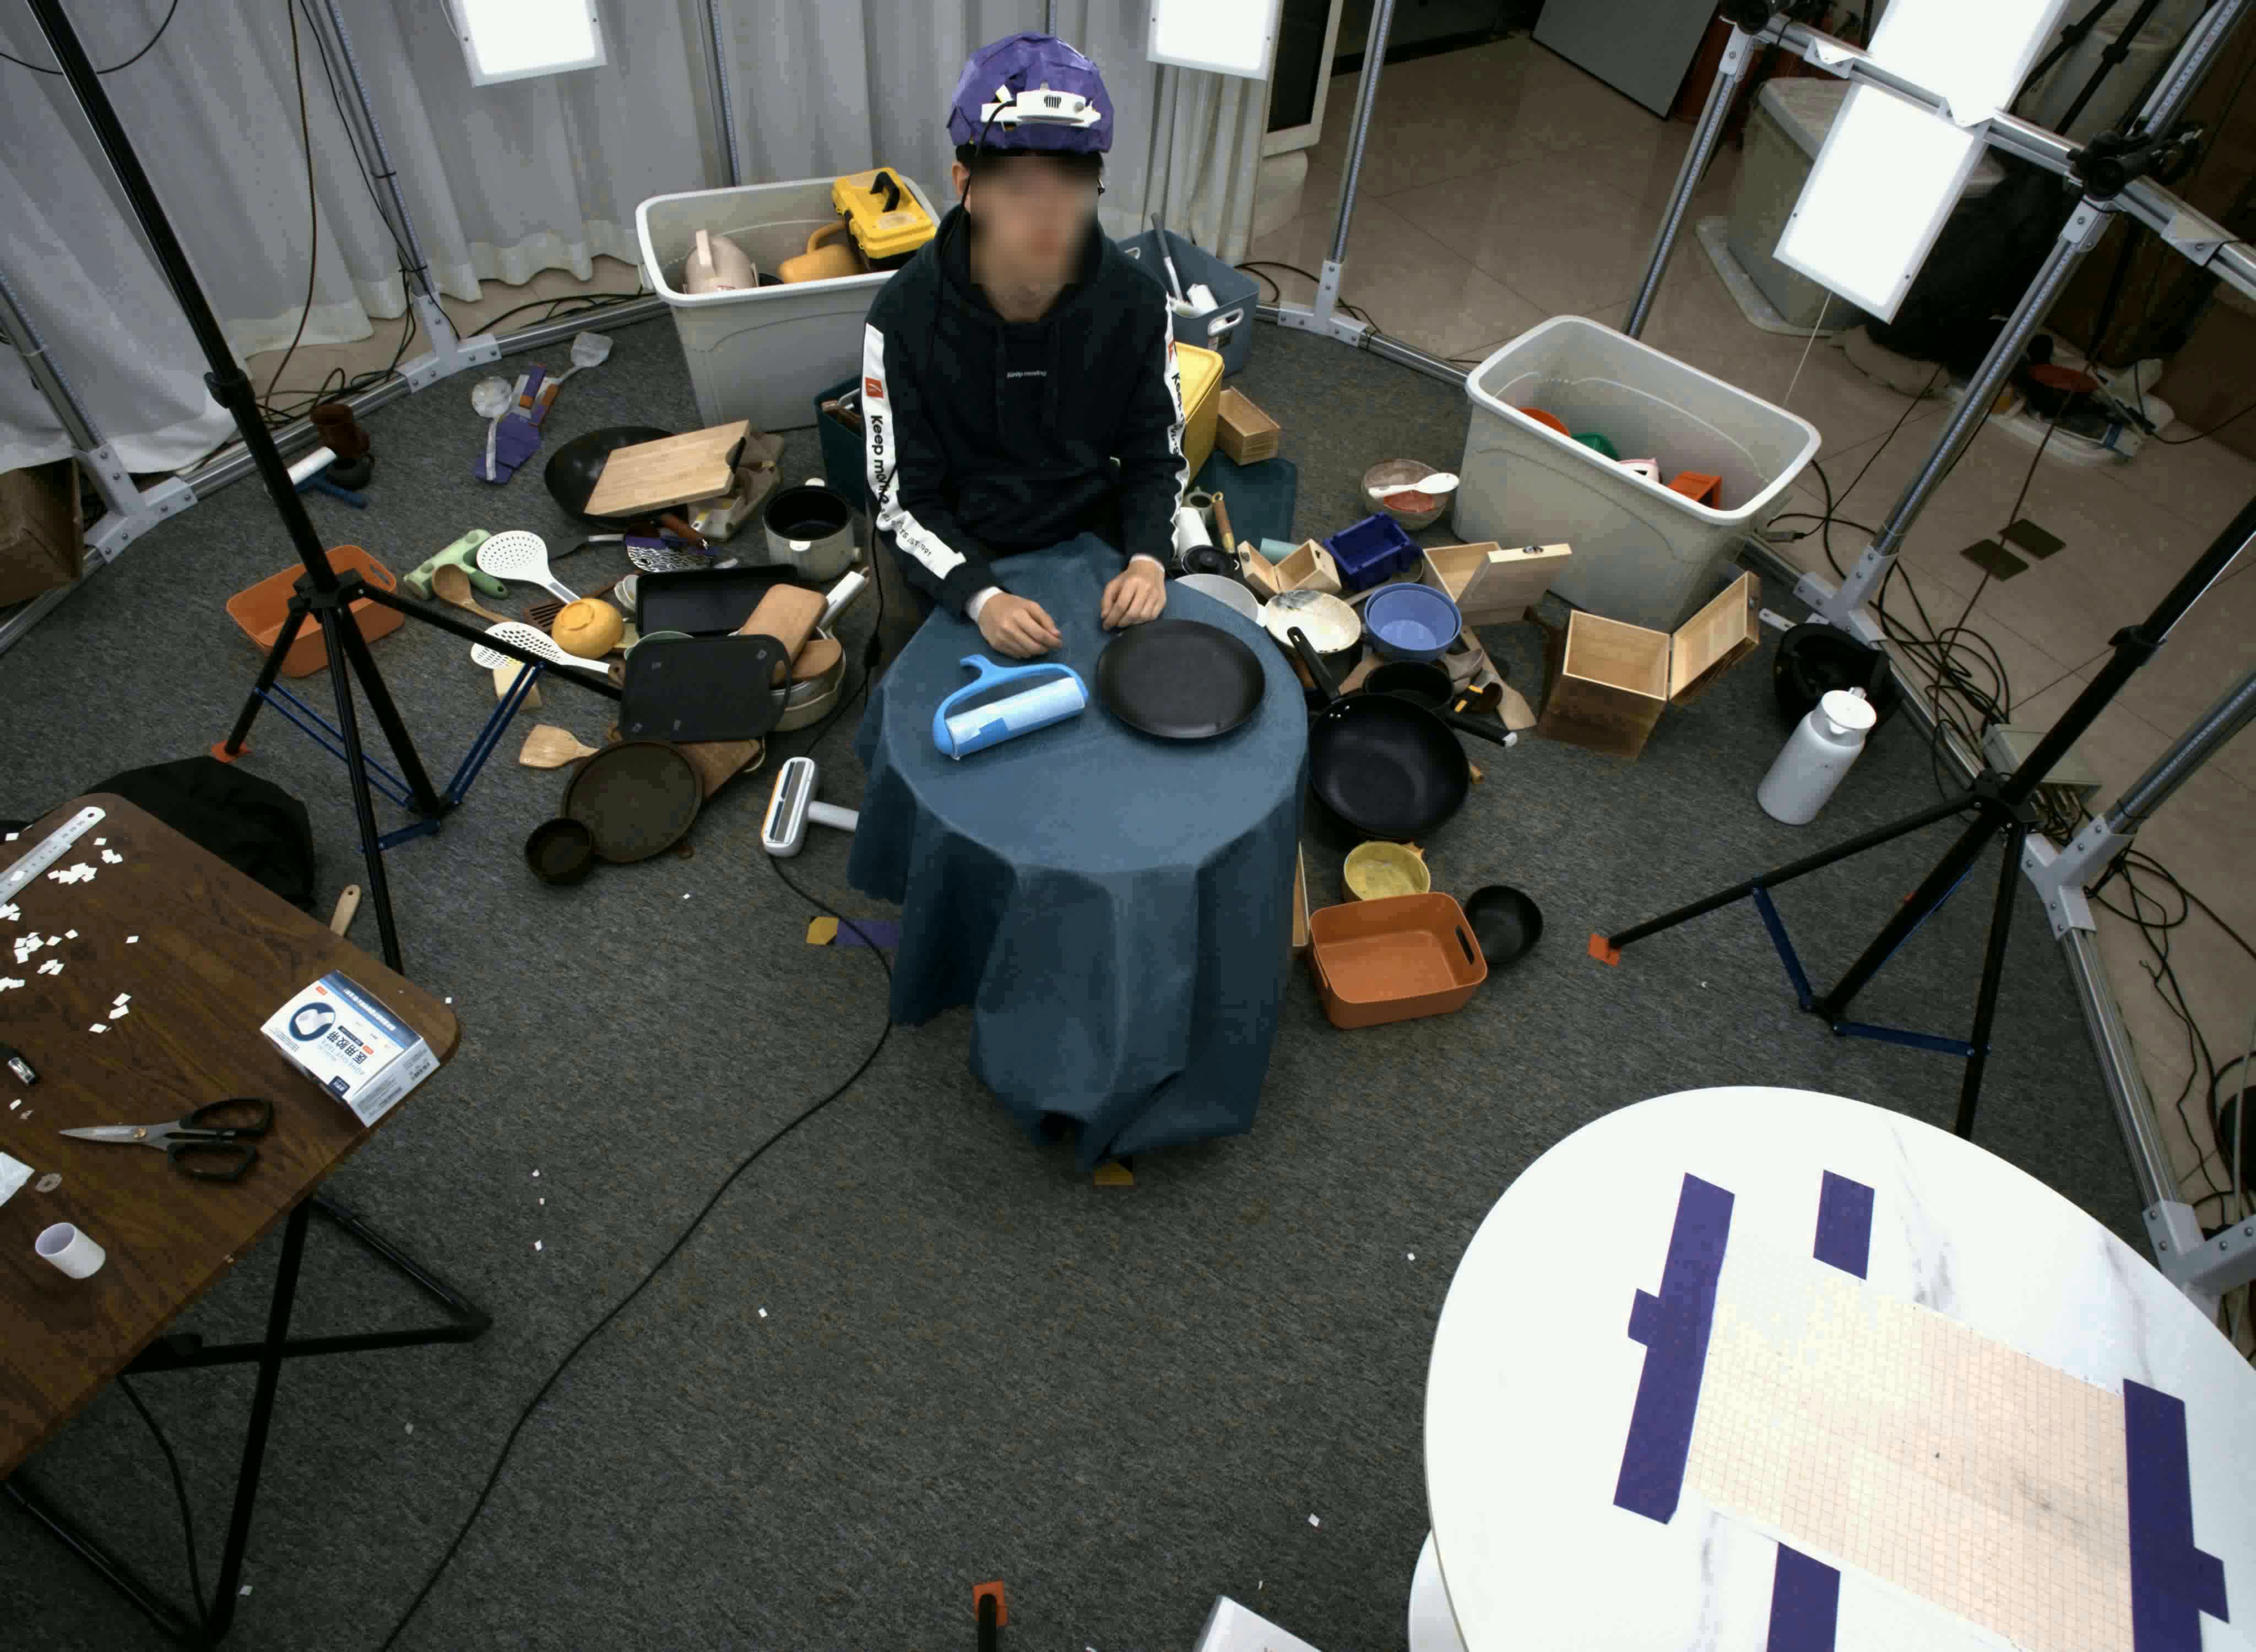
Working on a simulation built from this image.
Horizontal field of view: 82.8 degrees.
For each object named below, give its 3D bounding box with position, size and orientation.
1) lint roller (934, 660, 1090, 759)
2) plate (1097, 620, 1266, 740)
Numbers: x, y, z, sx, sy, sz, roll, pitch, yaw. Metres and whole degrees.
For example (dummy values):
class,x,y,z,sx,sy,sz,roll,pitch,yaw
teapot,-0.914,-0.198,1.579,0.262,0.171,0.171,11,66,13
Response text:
class,x,y,z,sx,sy,sz,roll,pitch,yaw
lint roller,-0.187,-0.188,1.783,0.230,0.066,0.184,-25,54,-22
plate,0.076,-0.208,1.838,0.244,0.023,0.250,2,49,-2
